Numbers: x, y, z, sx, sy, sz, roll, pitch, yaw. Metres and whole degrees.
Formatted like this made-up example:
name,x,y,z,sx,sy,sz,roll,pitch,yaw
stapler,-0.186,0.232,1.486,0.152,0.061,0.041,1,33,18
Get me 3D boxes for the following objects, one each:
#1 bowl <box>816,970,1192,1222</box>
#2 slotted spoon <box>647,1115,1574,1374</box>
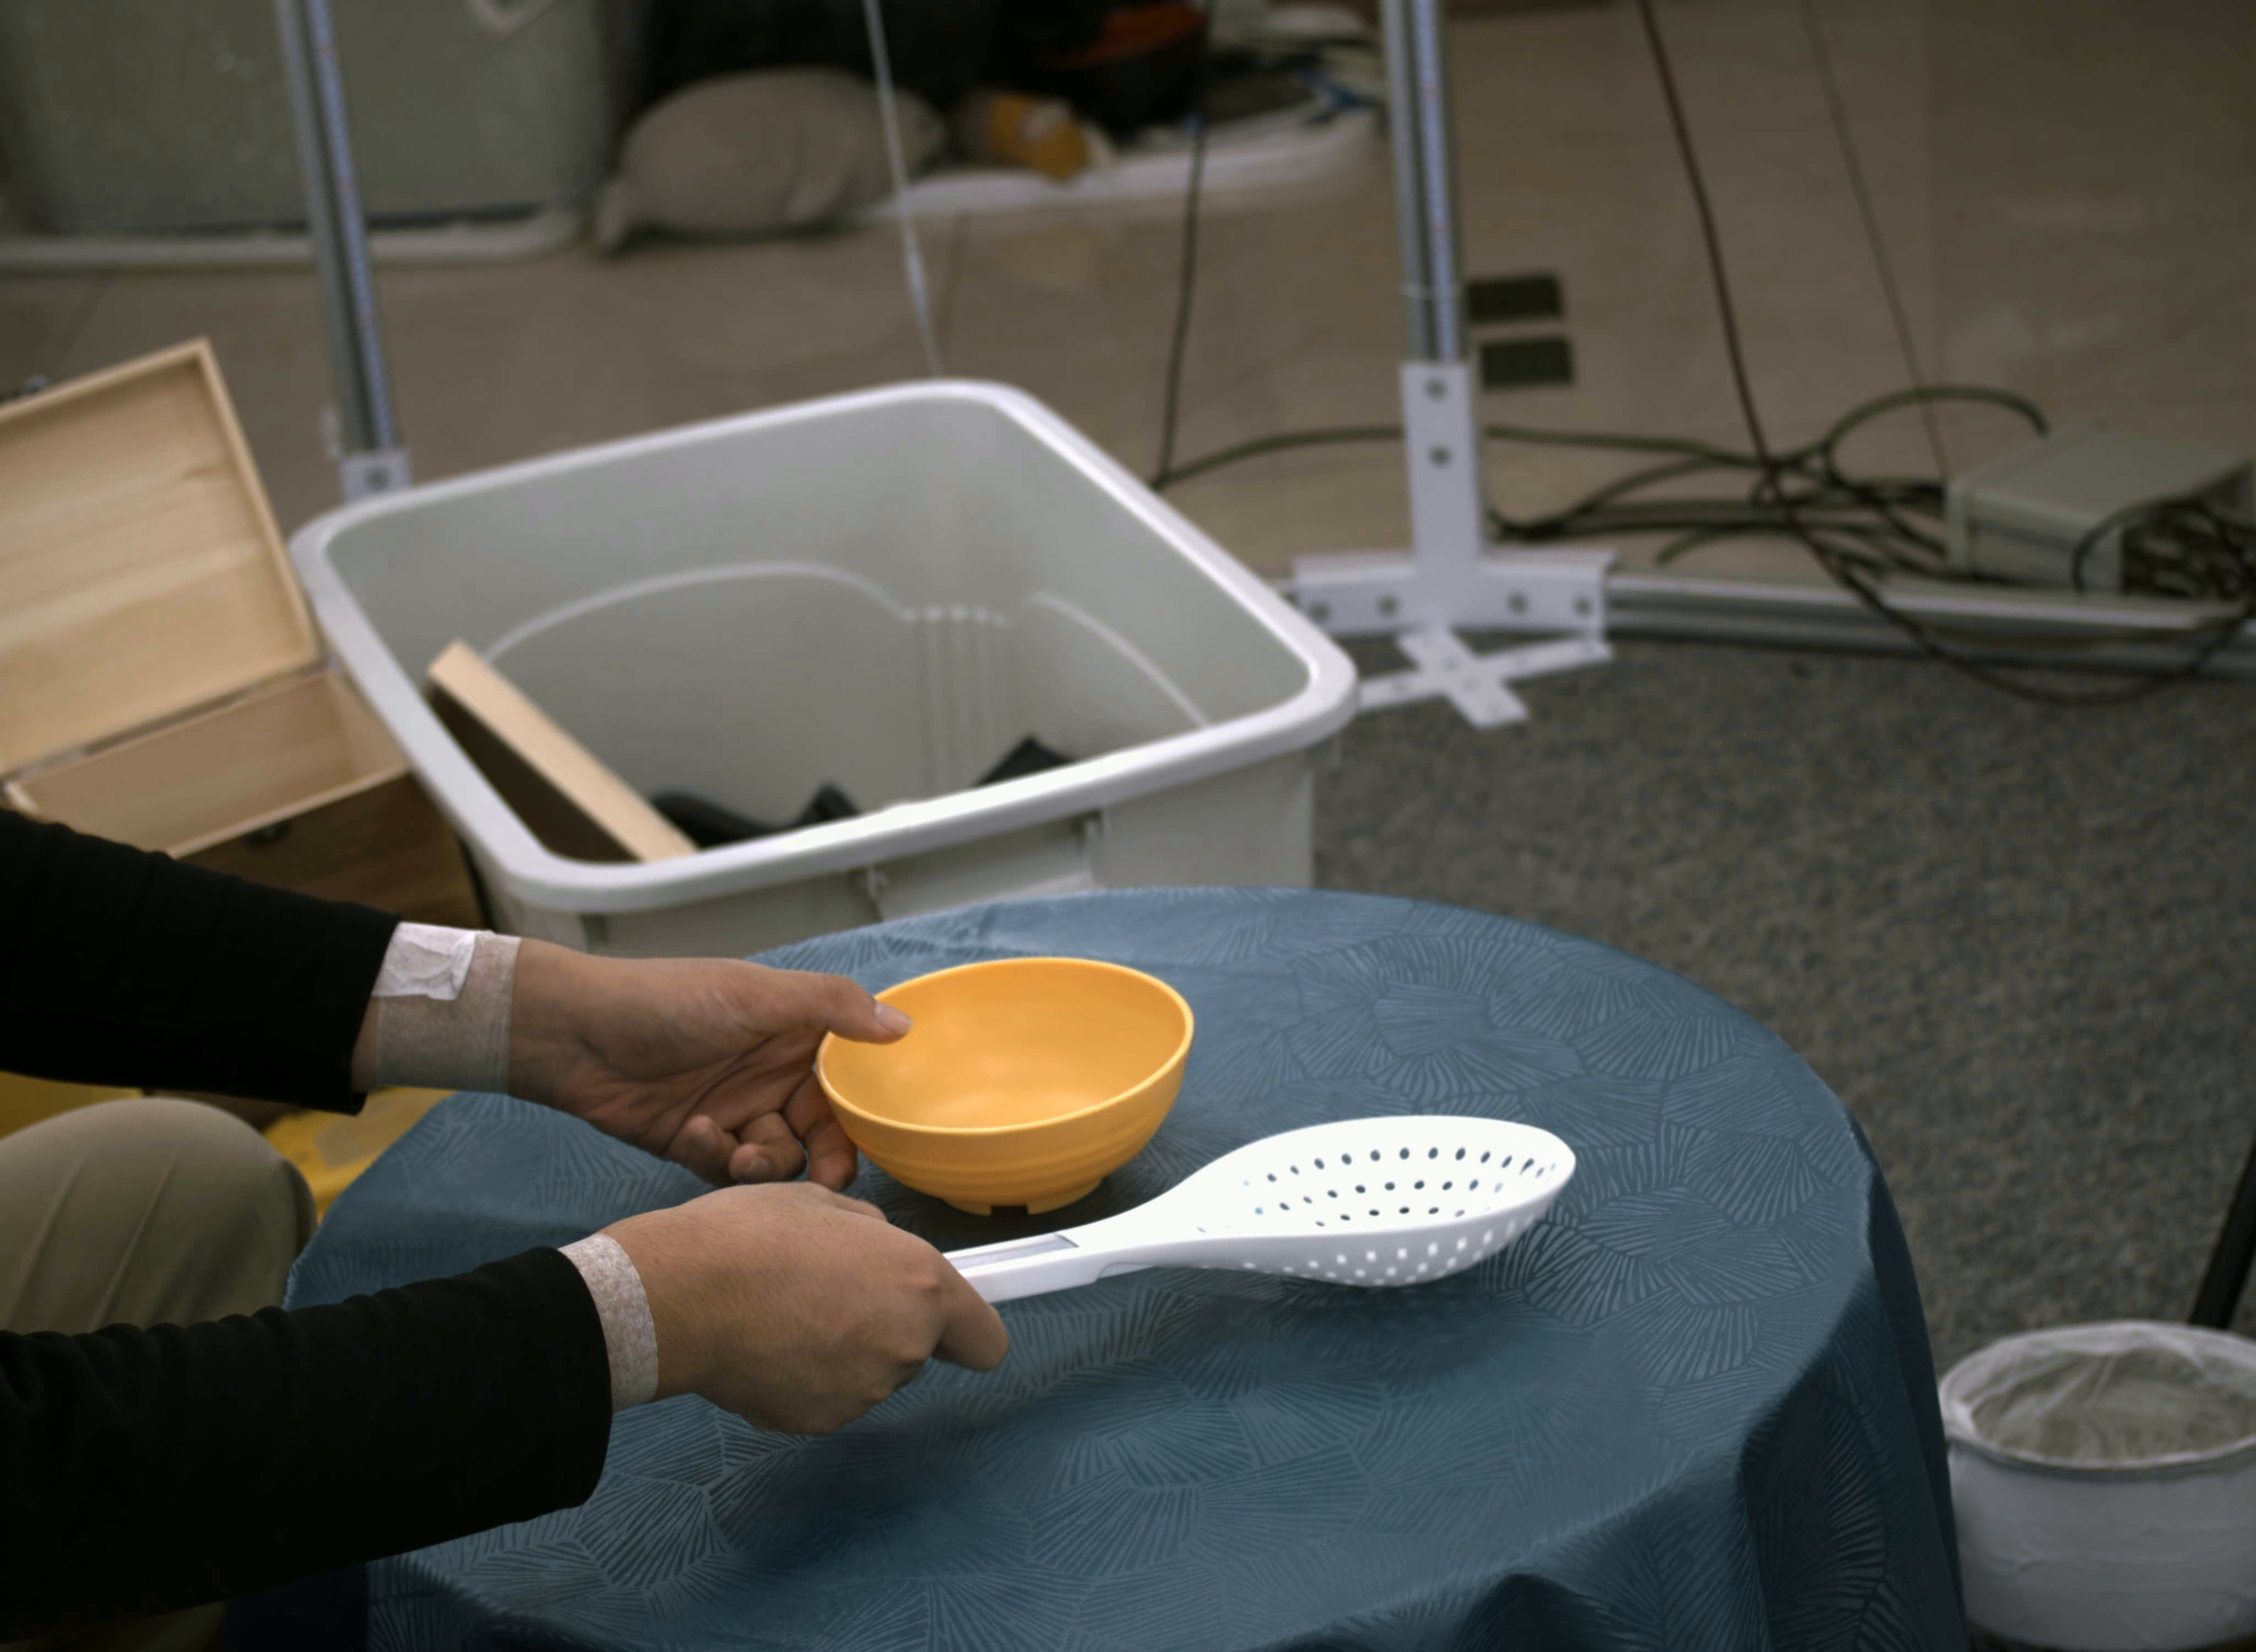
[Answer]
name,x,y,z,sx,sy,sz,roll,pitch,yaw
bowl,-0.044,0.110,2.155,0.145,0.061,0.143,-5,23,2
slotted spoon,-0.004,0.150,2.020,0.349,0.046,0.135,-6,11,-23
